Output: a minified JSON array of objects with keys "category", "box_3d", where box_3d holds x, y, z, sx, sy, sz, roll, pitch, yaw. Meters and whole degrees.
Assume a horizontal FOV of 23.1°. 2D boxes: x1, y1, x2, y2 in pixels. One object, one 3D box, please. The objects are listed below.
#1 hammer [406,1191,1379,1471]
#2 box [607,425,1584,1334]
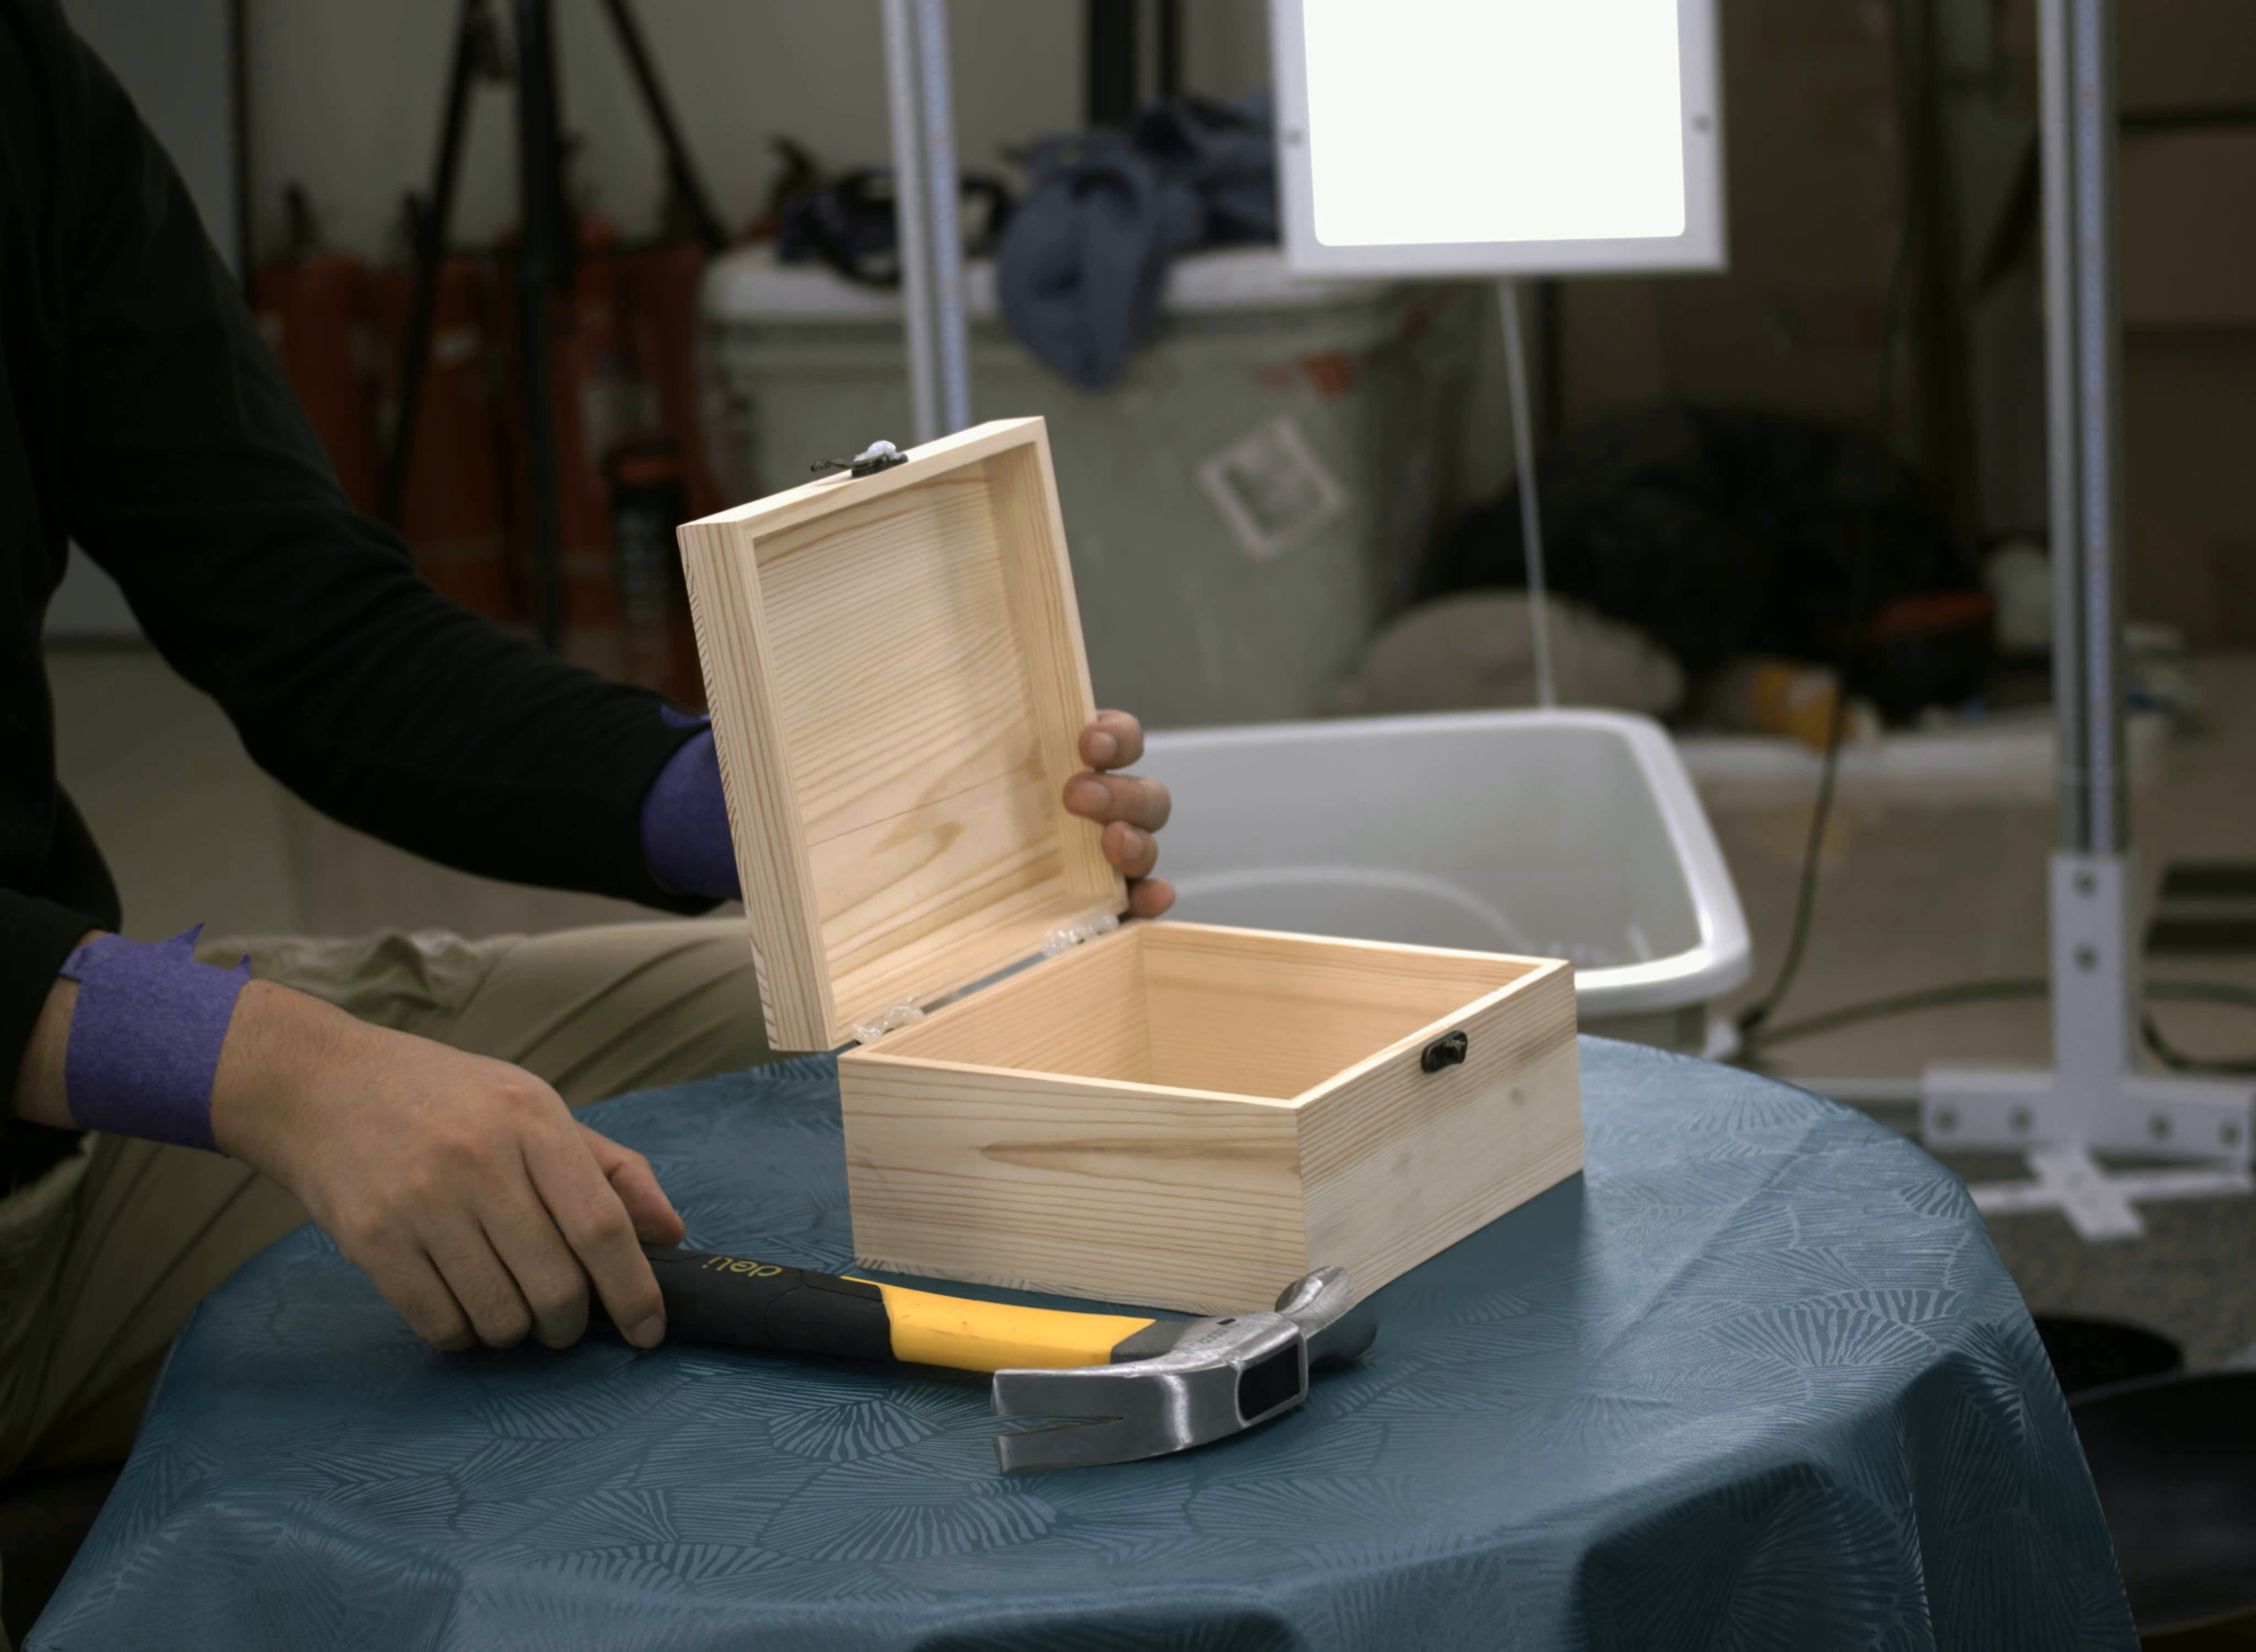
[{"category":"hammer","box_3d":[-0.095,0.151,1.755,0.345,0.032,0.128,7,18,36]},{"category":"box","box_3d":[-0.005,0.010,1.851,0.270,0.254,0.177,5,19,34]}]
